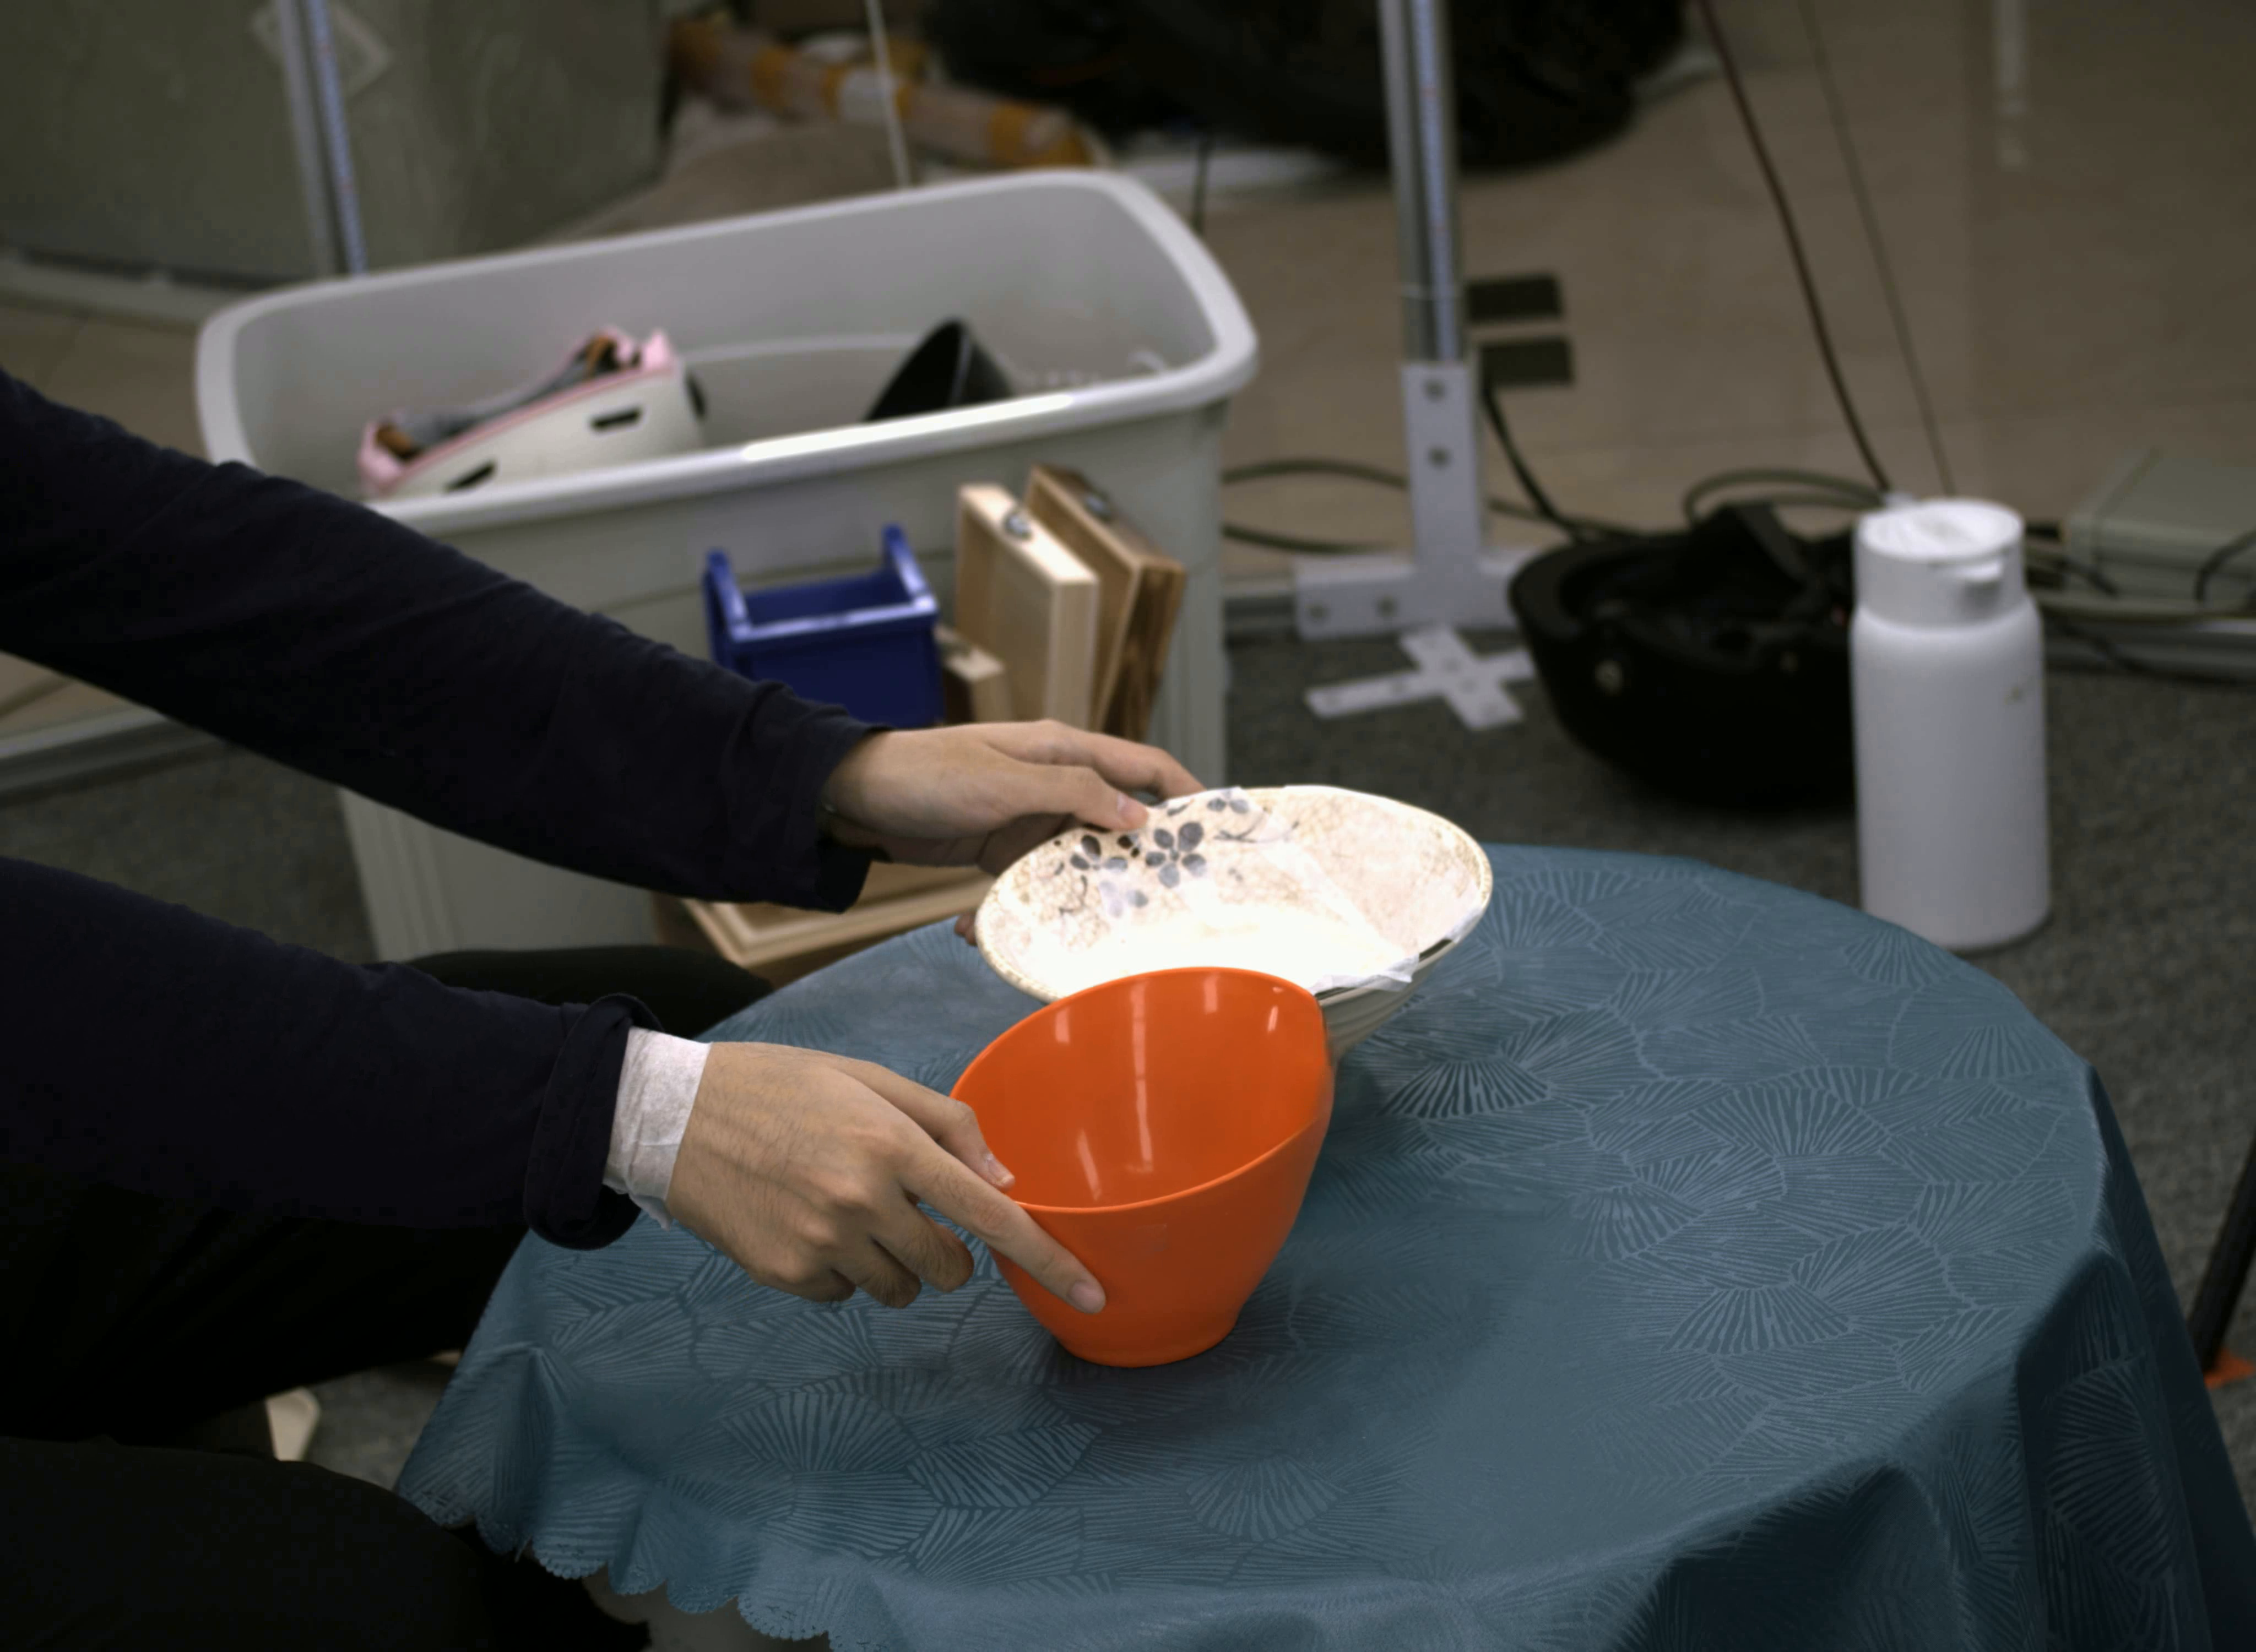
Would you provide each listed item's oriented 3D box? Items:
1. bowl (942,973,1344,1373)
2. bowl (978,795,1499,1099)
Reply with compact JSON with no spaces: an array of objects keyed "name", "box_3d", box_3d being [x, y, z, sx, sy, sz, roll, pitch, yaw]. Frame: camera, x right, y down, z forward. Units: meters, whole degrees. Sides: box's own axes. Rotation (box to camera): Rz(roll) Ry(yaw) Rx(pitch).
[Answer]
[{"name":"bowl","box_3d":[0.010,0.132,2.046,0.148,0.106,0.146,-7,26,3]},{"name":"bowl","box_3d":[0.047,0.062,2.214,0.203,0.079,0.201,-6,23,3]}]
